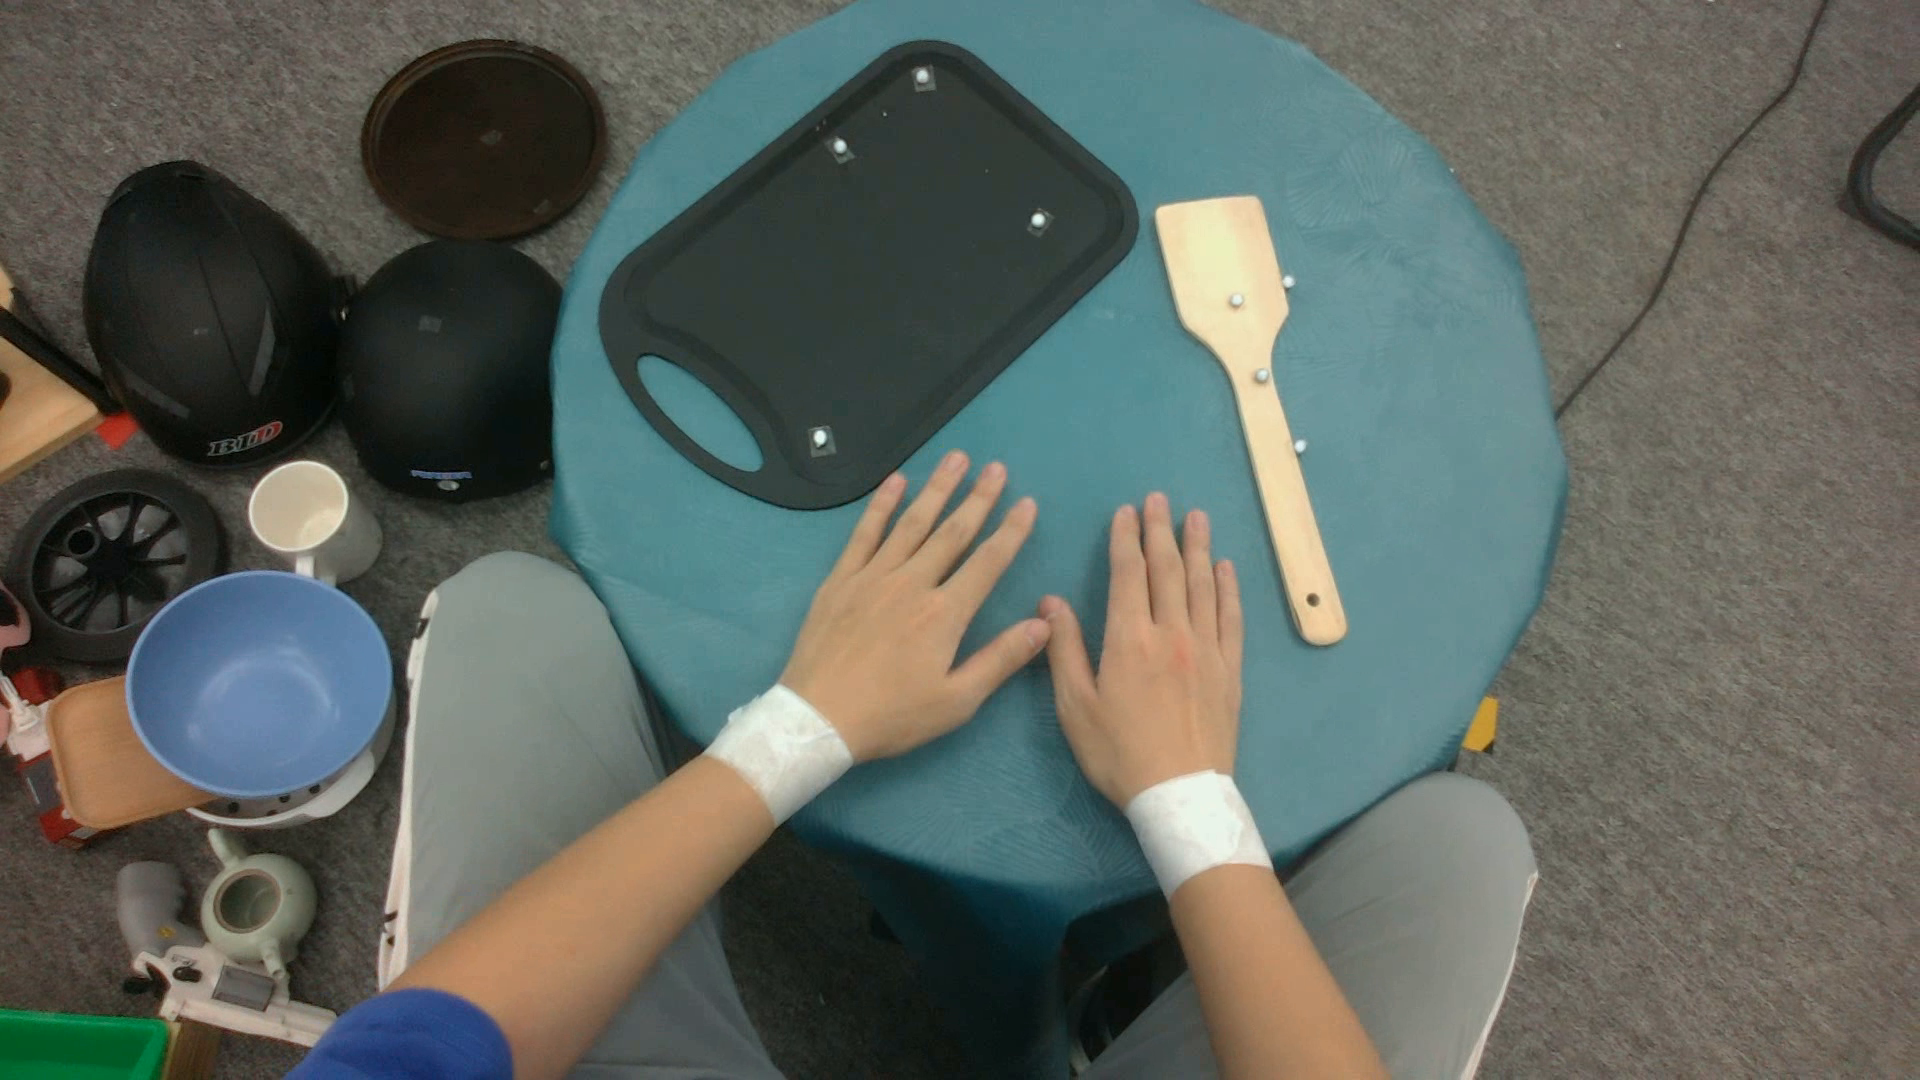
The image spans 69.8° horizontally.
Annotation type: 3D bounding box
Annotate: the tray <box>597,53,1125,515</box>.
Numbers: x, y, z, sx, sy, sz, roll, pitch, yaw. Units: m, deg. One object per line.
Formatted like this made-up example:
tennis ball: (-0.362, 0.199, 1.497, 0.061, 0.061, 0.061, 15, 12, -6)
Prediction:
tray: (-0.061, -0.162, 0.847, 0.211, 0.010, 0.326, 42, 72, 11)

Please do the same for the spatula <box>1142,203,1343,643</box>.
spatula: (0.178, -0.077, 0.831, 0.072, 0.010, 0.294, -9, 70, -9)
